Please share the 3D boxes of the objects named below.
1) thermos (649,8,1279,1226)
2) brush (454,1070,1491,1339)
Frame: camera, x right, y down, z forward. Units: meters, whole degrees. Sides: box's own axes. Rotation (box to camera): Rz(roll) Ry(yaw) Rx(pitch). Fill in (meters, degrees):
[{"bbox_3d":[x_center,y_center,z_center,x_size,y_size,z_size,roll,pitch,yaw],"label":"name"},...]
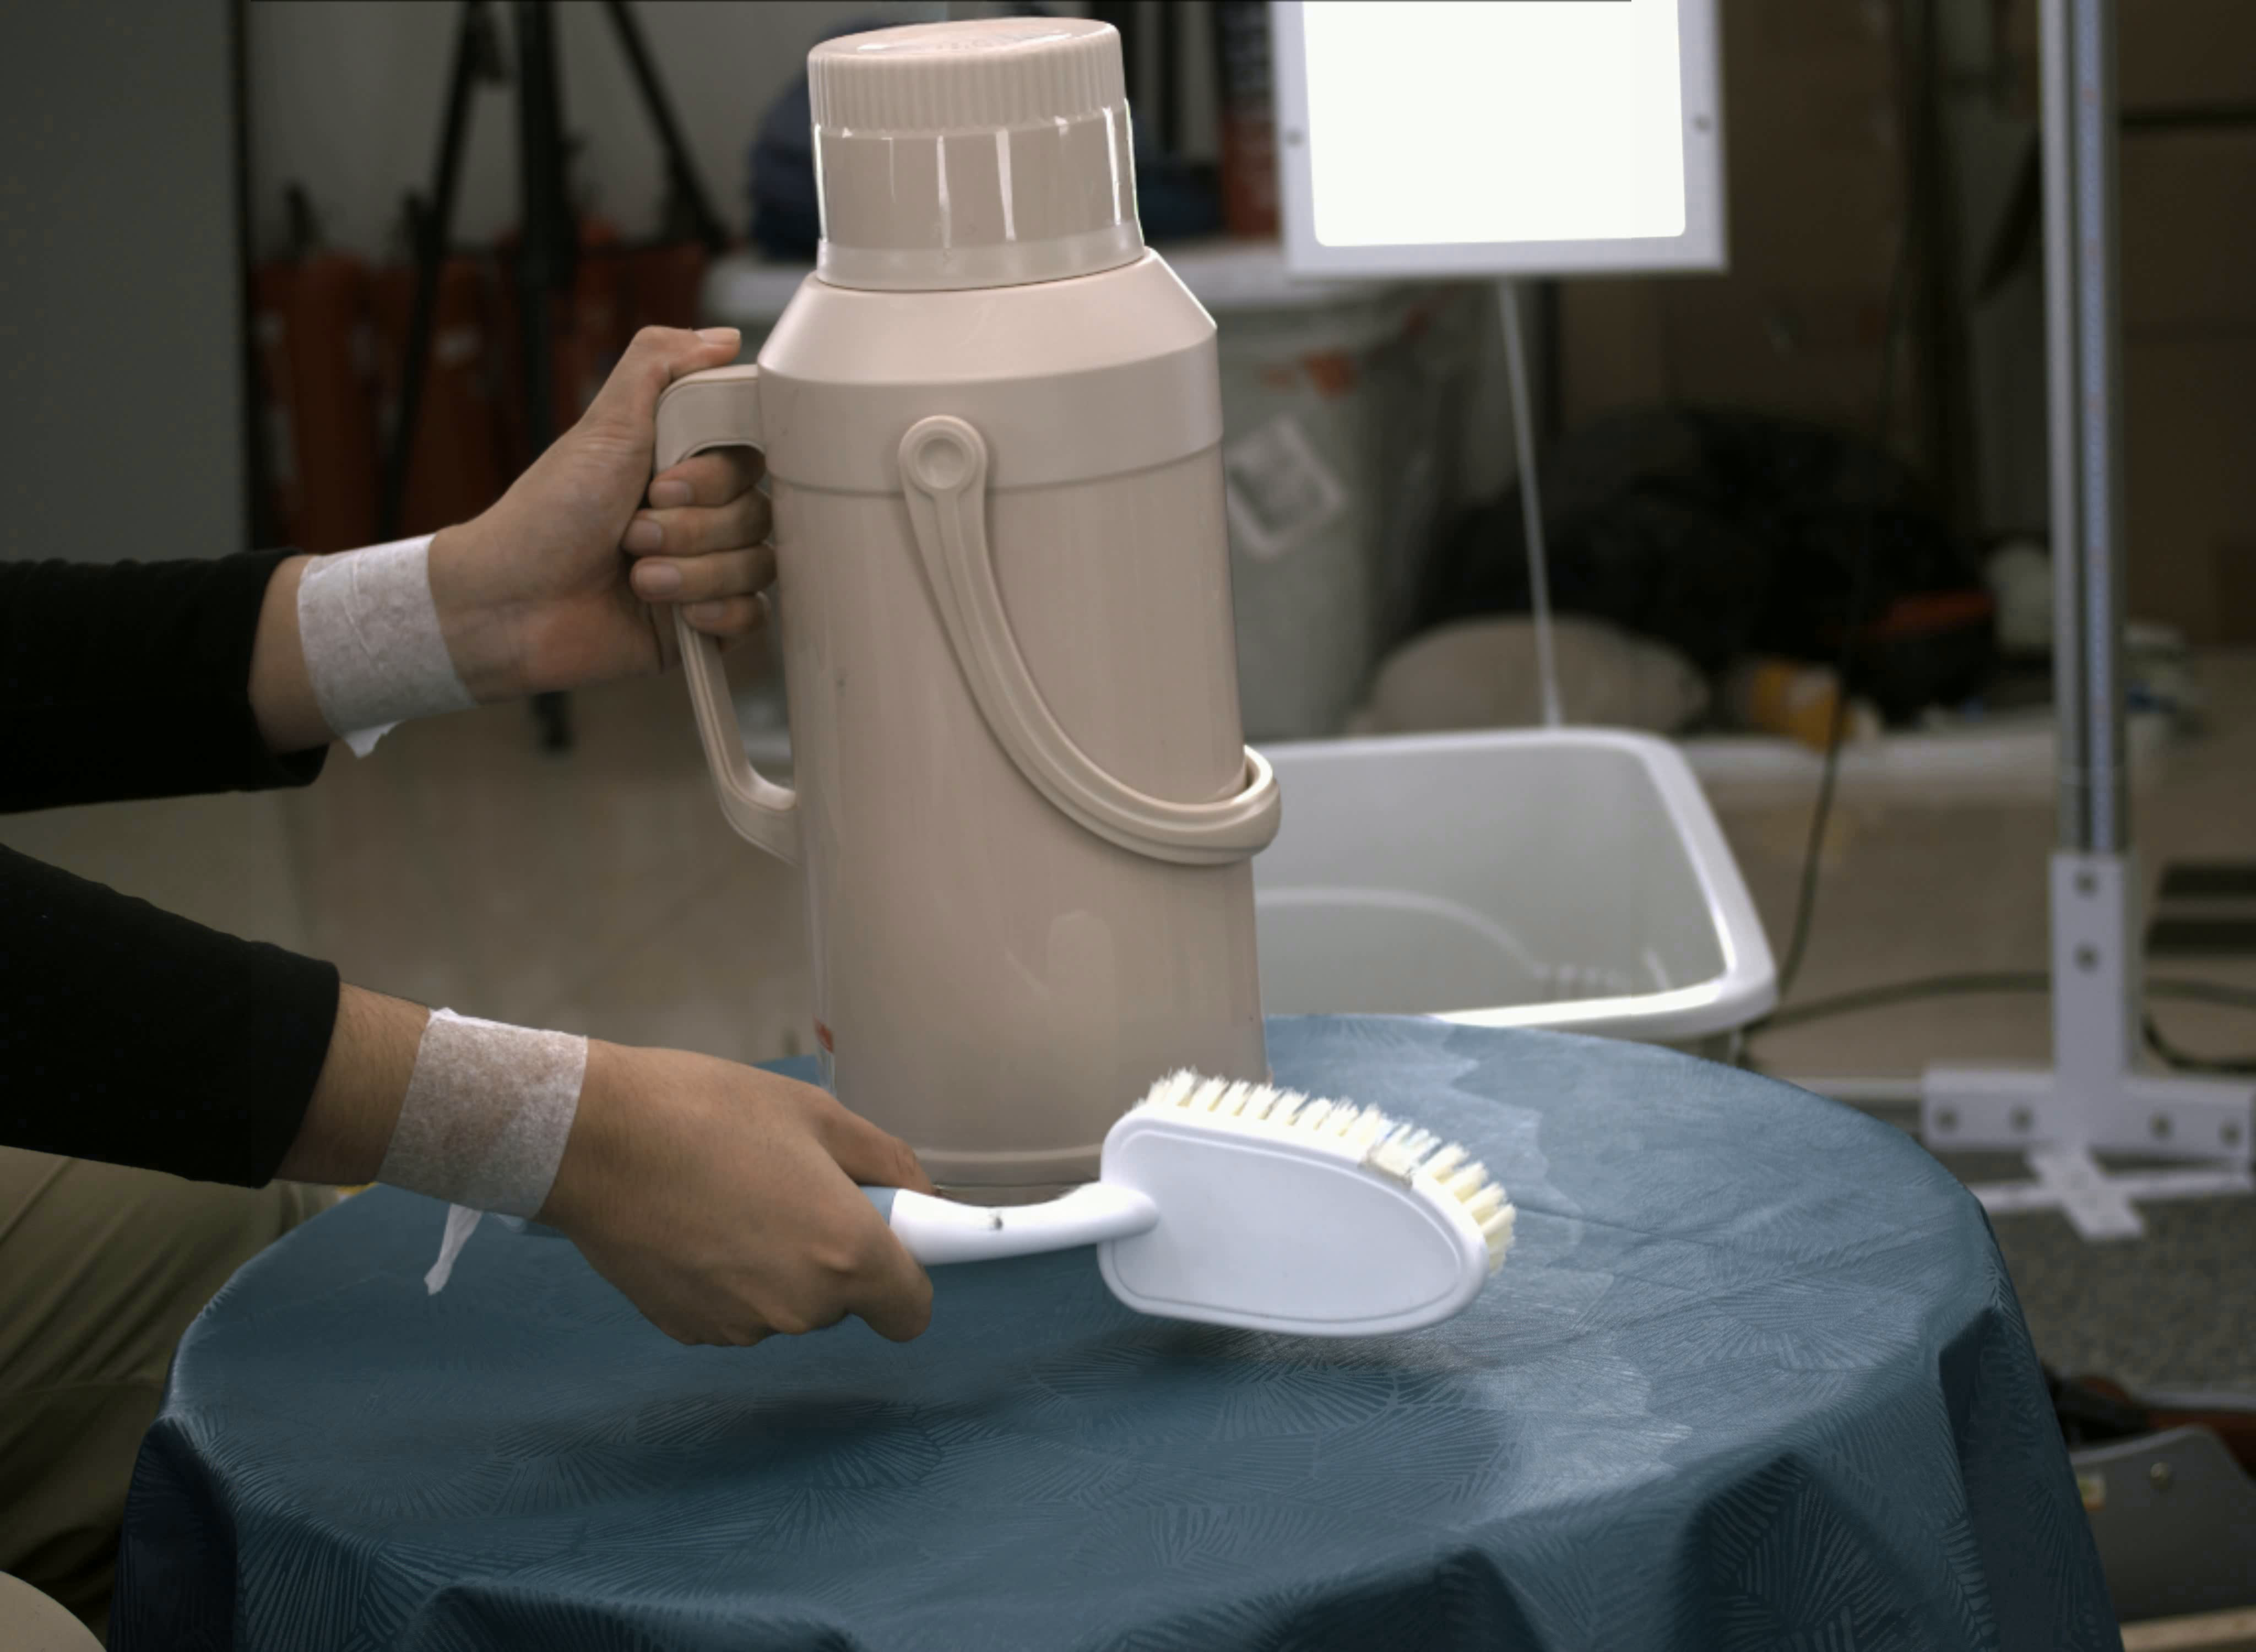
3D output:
[{"bbox_3d":[-0.055,-0.069,1.881,0.208,0.408,0.173,-1,16,11],"label":"thermos"},{"bbox_3d":[-0.047,0.110,1.728,0.327,0.083,0.084,4,-22,10],"label":"brush"}]
